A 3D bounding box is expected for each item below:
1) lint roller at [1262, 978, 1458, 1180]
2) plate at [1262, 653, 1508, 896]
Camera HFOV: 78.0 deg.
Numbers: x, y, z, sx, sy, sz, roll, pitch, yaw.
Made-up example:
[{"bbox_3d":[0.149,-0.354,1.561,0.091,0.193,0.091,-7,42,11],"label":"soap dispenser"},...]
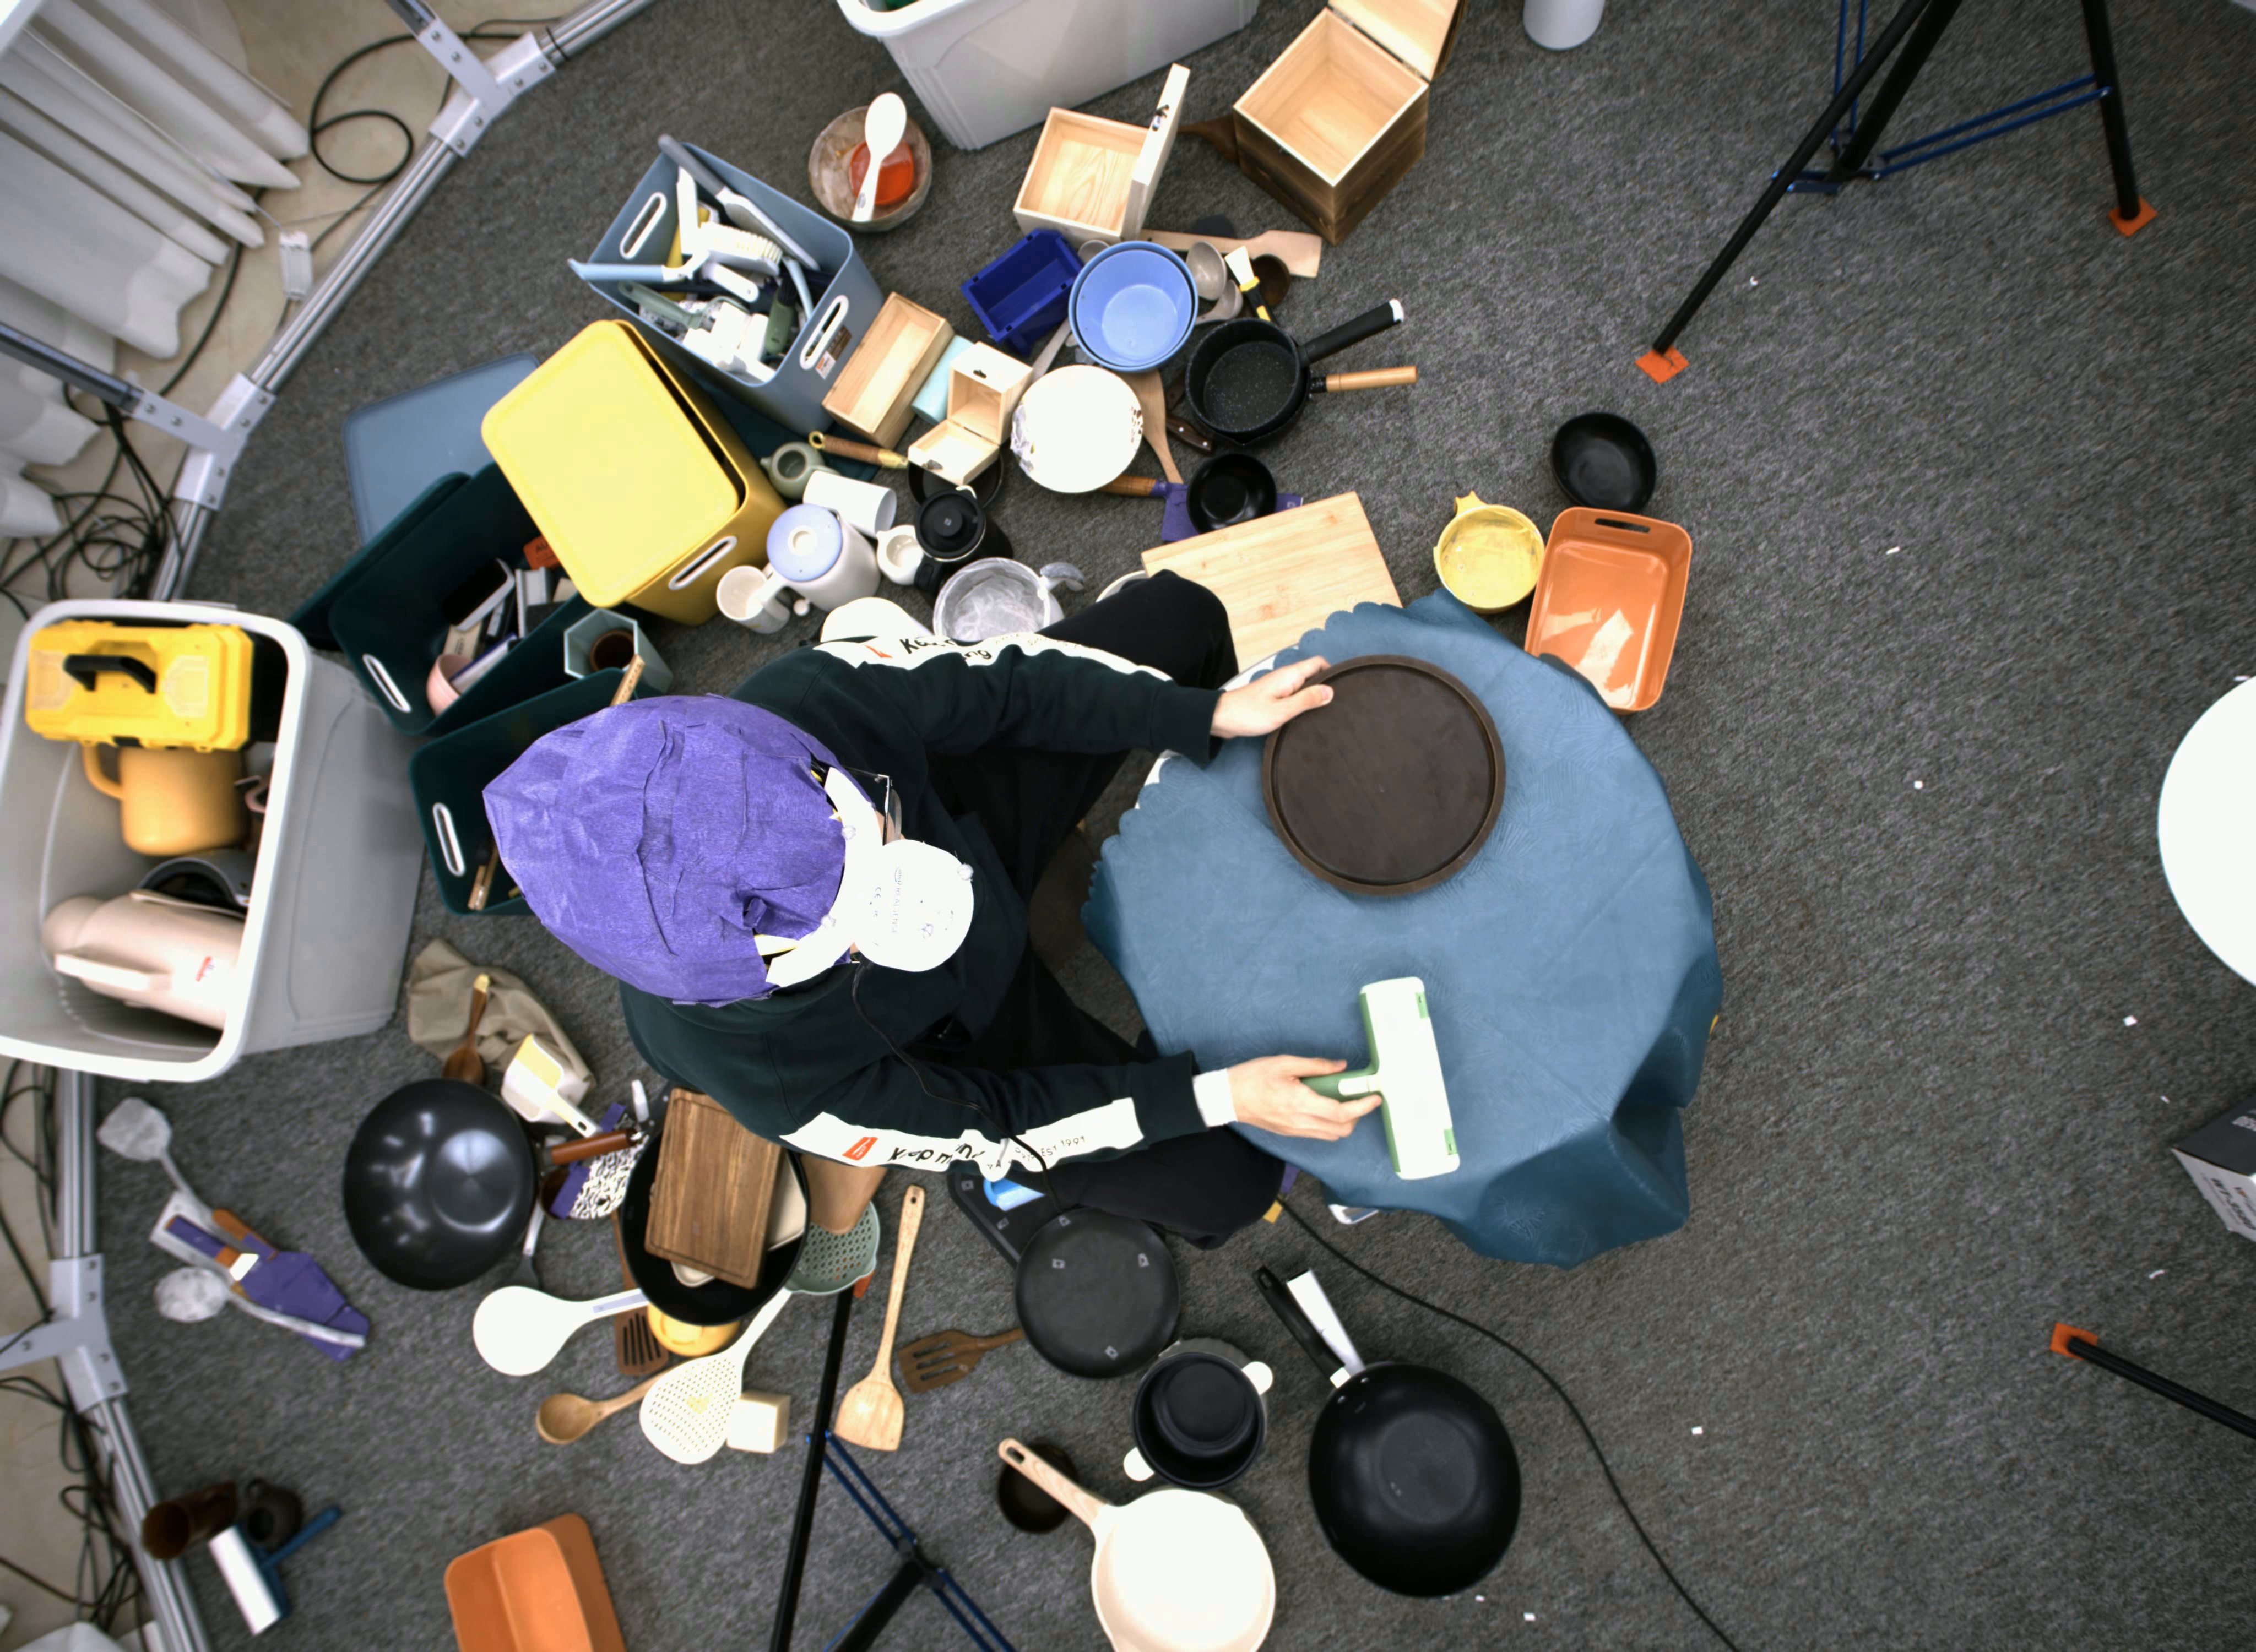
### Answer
[{"bbox_3d":[0.222,0.261,1.388,0.184,0.082,0.197,-11,82,10],"label":"lint roller"},{"bbox_3d":[0.266,-0.055,1.434,0.255,0.029,0.255,0,93,8],"label":"plate"}]
